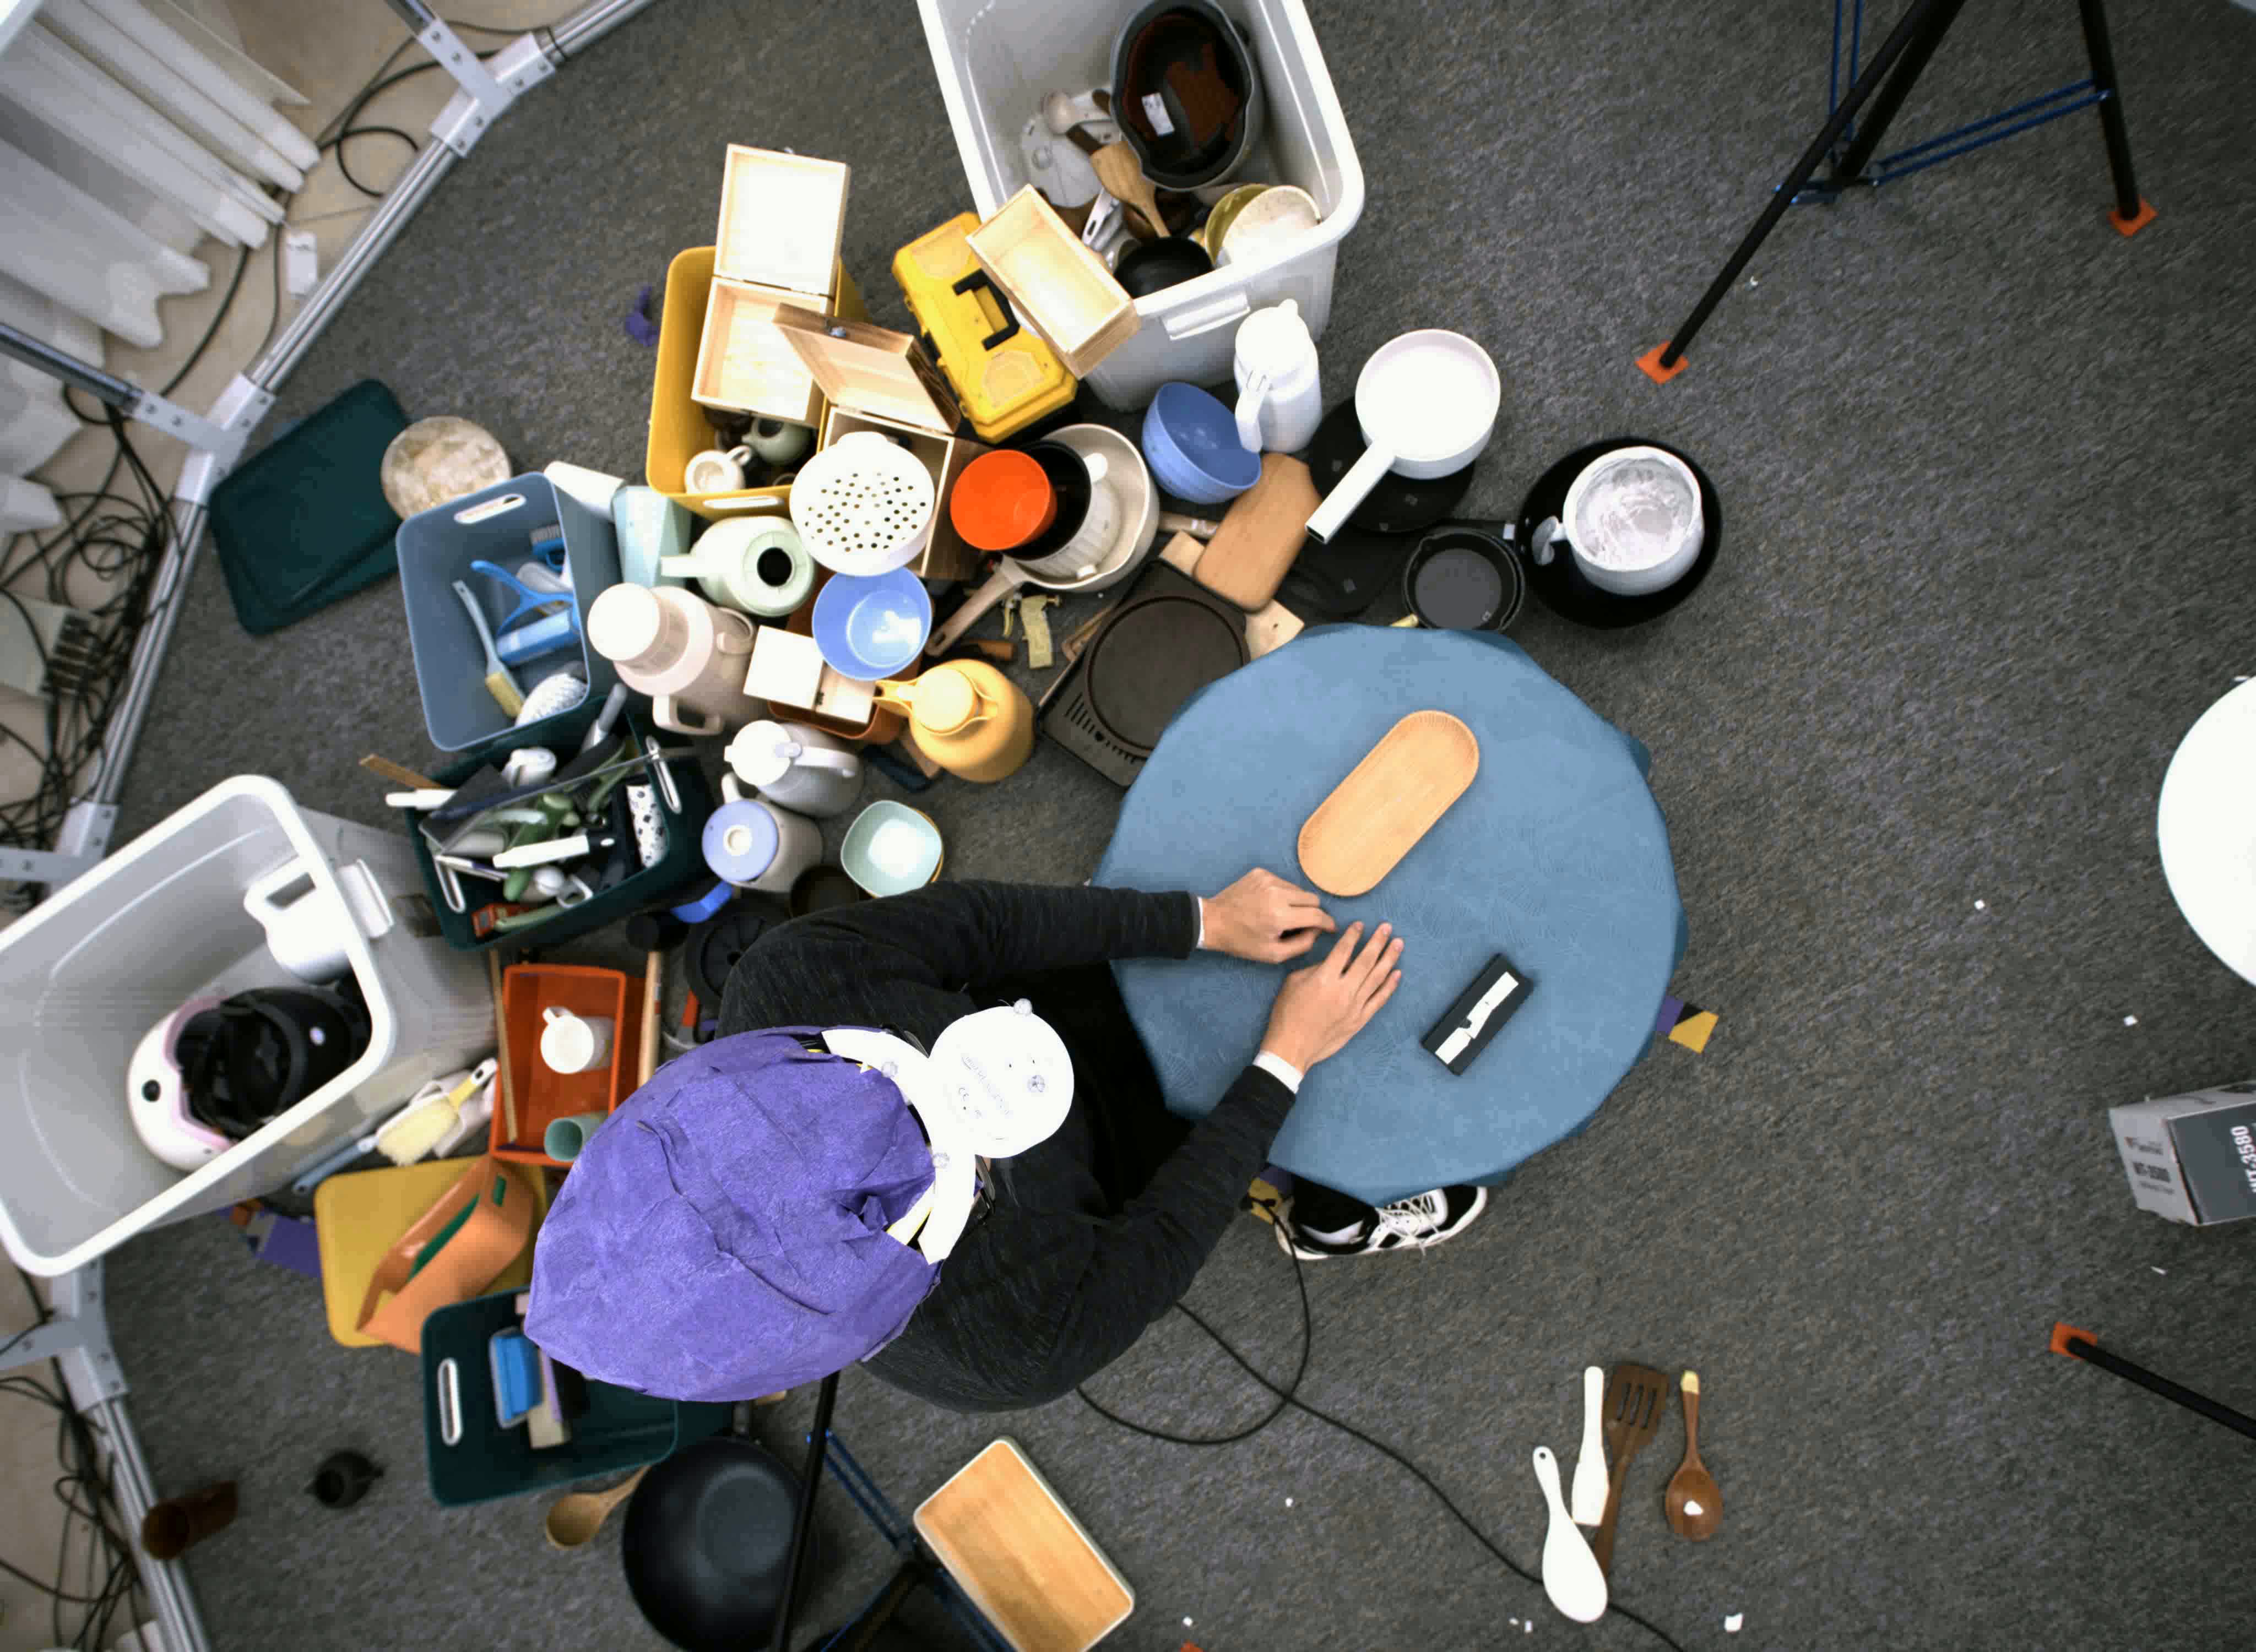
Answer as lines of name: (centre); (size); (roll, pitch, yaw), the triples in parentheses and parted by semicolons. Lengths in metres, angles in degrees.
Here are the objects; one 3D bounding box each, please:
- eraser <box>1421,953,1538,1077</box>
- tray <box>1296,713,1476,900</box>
eraser: (0.362, 0.192, 1.422); (0.053, 0.030, 0.126); (41, 95, 13)
tray: (0.272, -0.022, 1.457); (0.101, 0.020, 0.232); (43, 96, 11)
